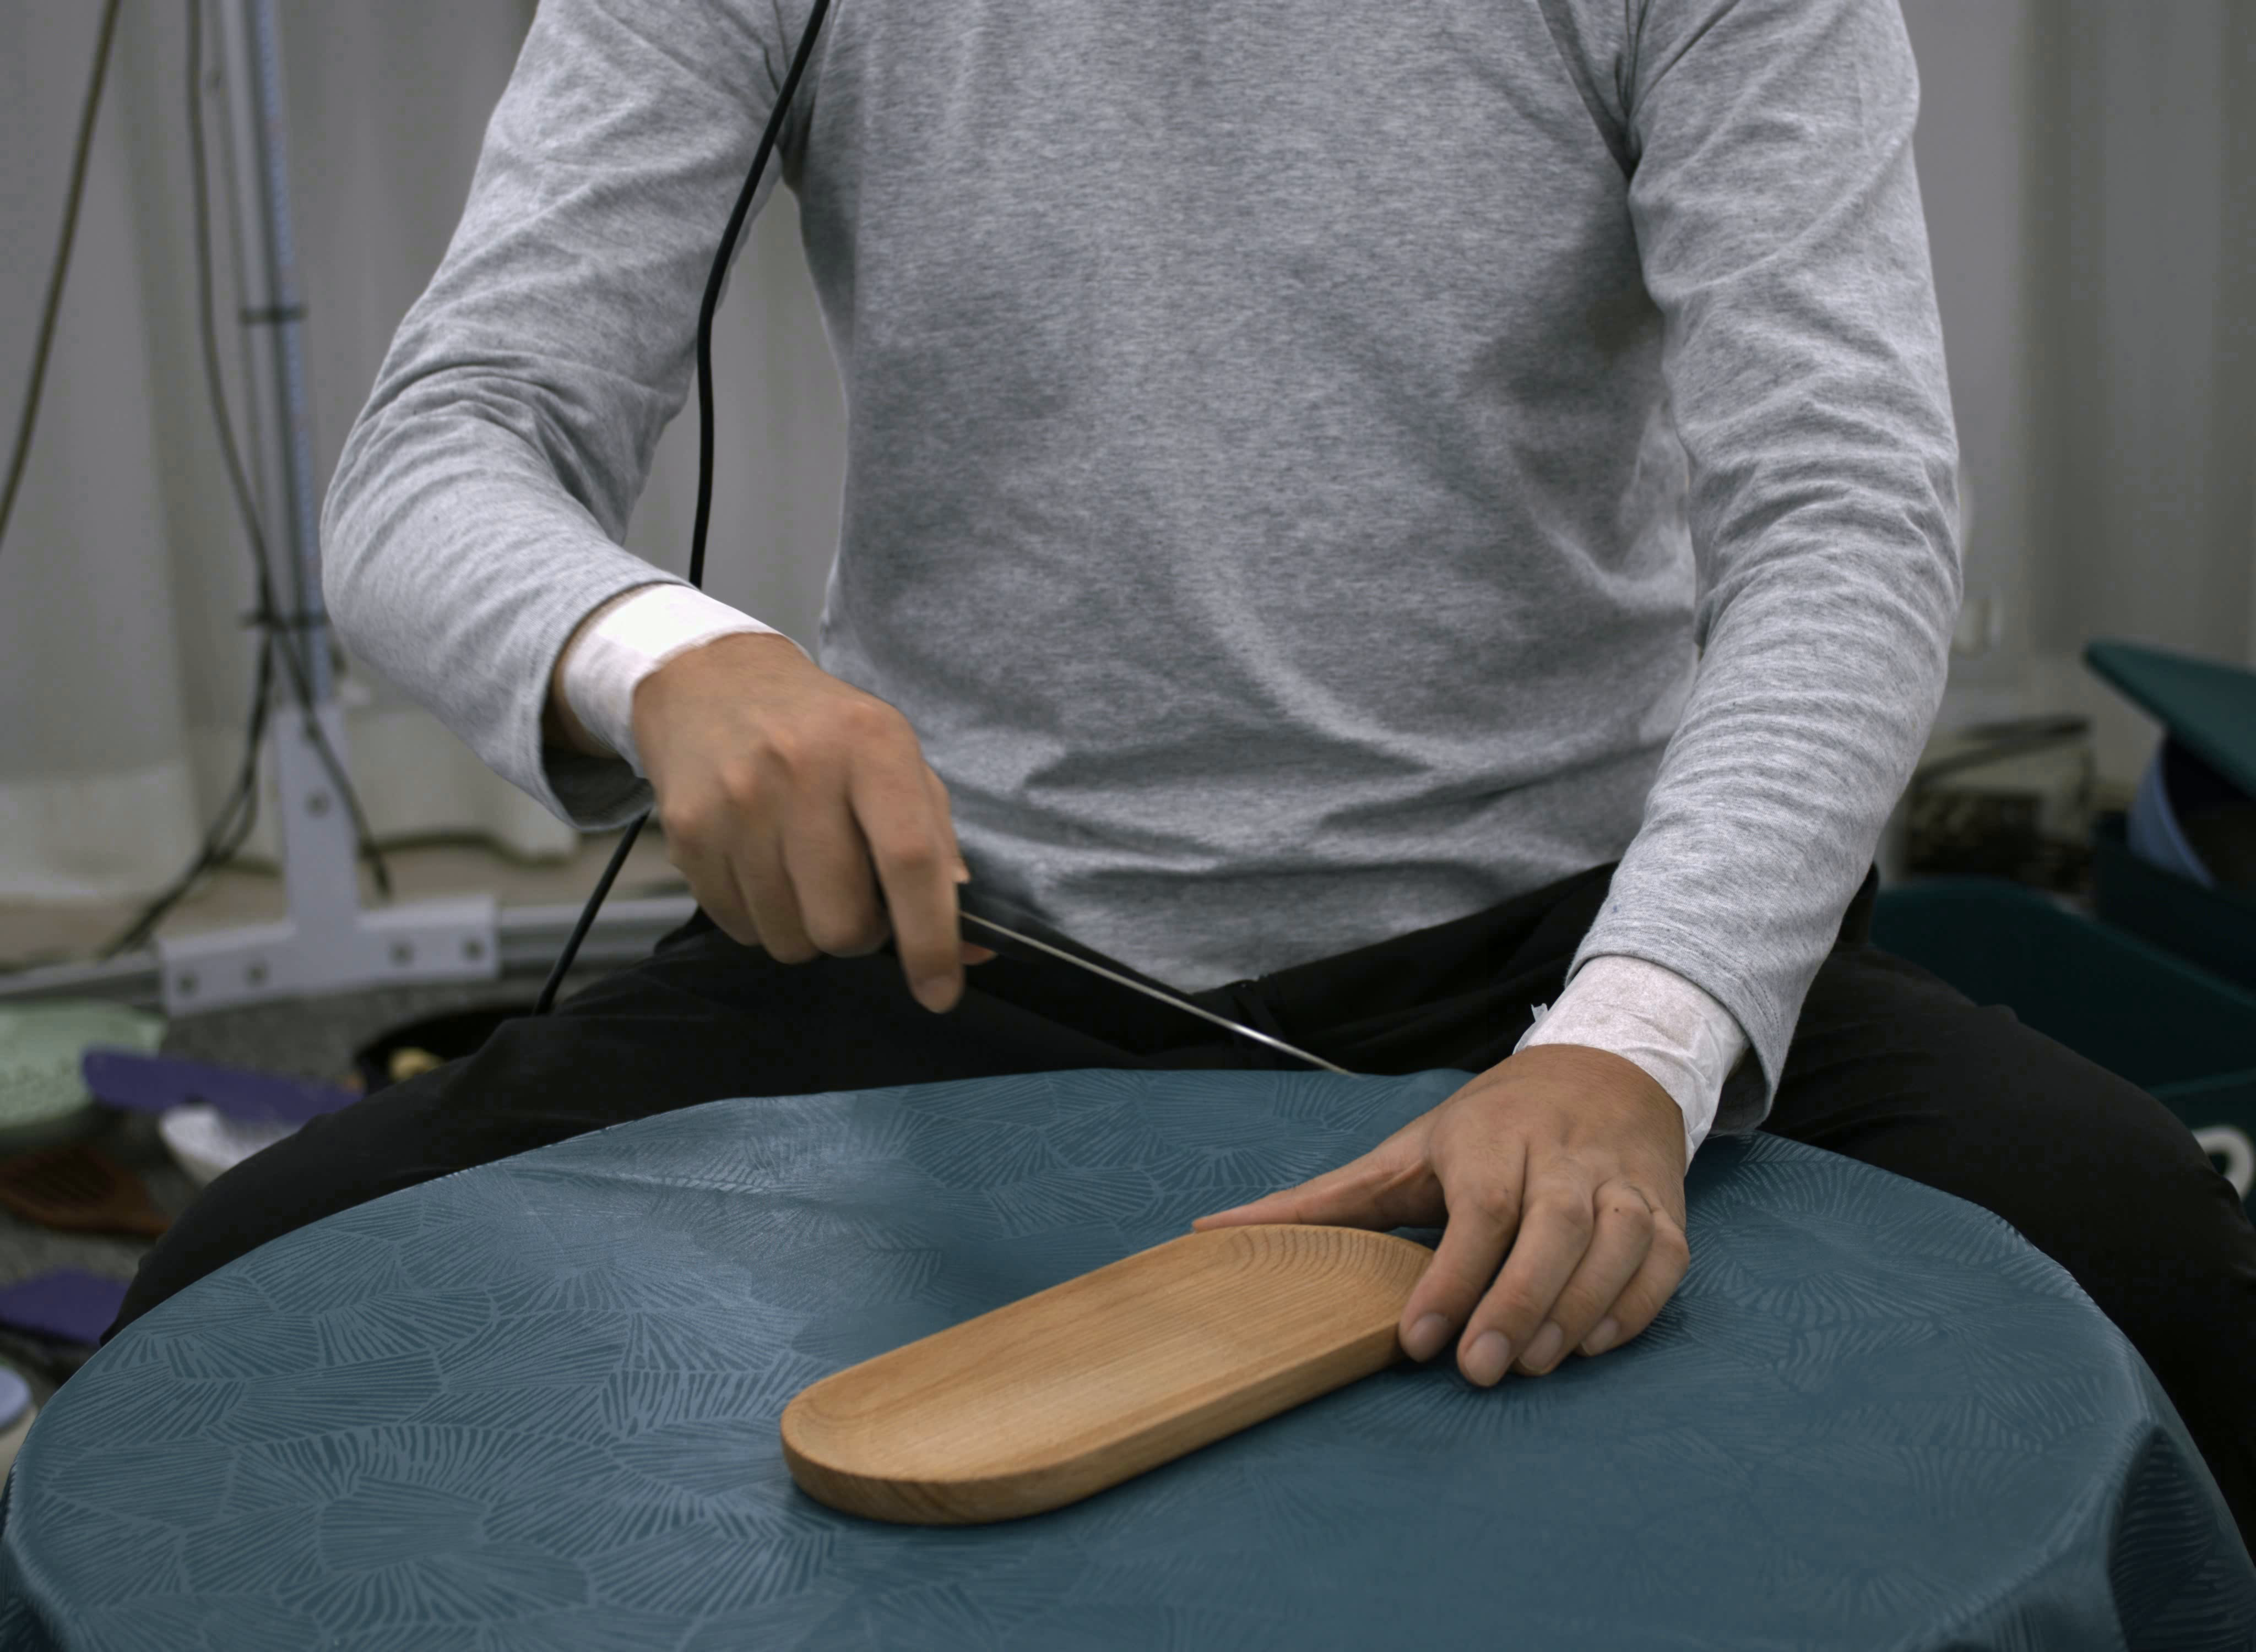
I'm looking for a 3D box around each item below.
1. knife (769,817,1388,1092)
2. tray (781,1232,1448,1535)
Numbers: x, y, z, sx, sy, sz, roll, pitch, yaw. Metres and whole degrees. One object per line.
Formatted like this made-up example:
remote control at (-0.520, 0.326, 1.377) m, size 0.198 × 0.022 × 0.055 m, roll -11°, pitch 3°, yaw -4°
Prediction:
knife at (-0.019, 0.037, 1.586) m, size 0.240 × 0.016 × 0.024 m, roll 22°, pitch -1°, yaw 37°
tray at (-0.001, 0.155, 1.537) m, size 0.102 × 0.020 × 0.231 m, roll 7°, pitch 19°, yaw 41°
